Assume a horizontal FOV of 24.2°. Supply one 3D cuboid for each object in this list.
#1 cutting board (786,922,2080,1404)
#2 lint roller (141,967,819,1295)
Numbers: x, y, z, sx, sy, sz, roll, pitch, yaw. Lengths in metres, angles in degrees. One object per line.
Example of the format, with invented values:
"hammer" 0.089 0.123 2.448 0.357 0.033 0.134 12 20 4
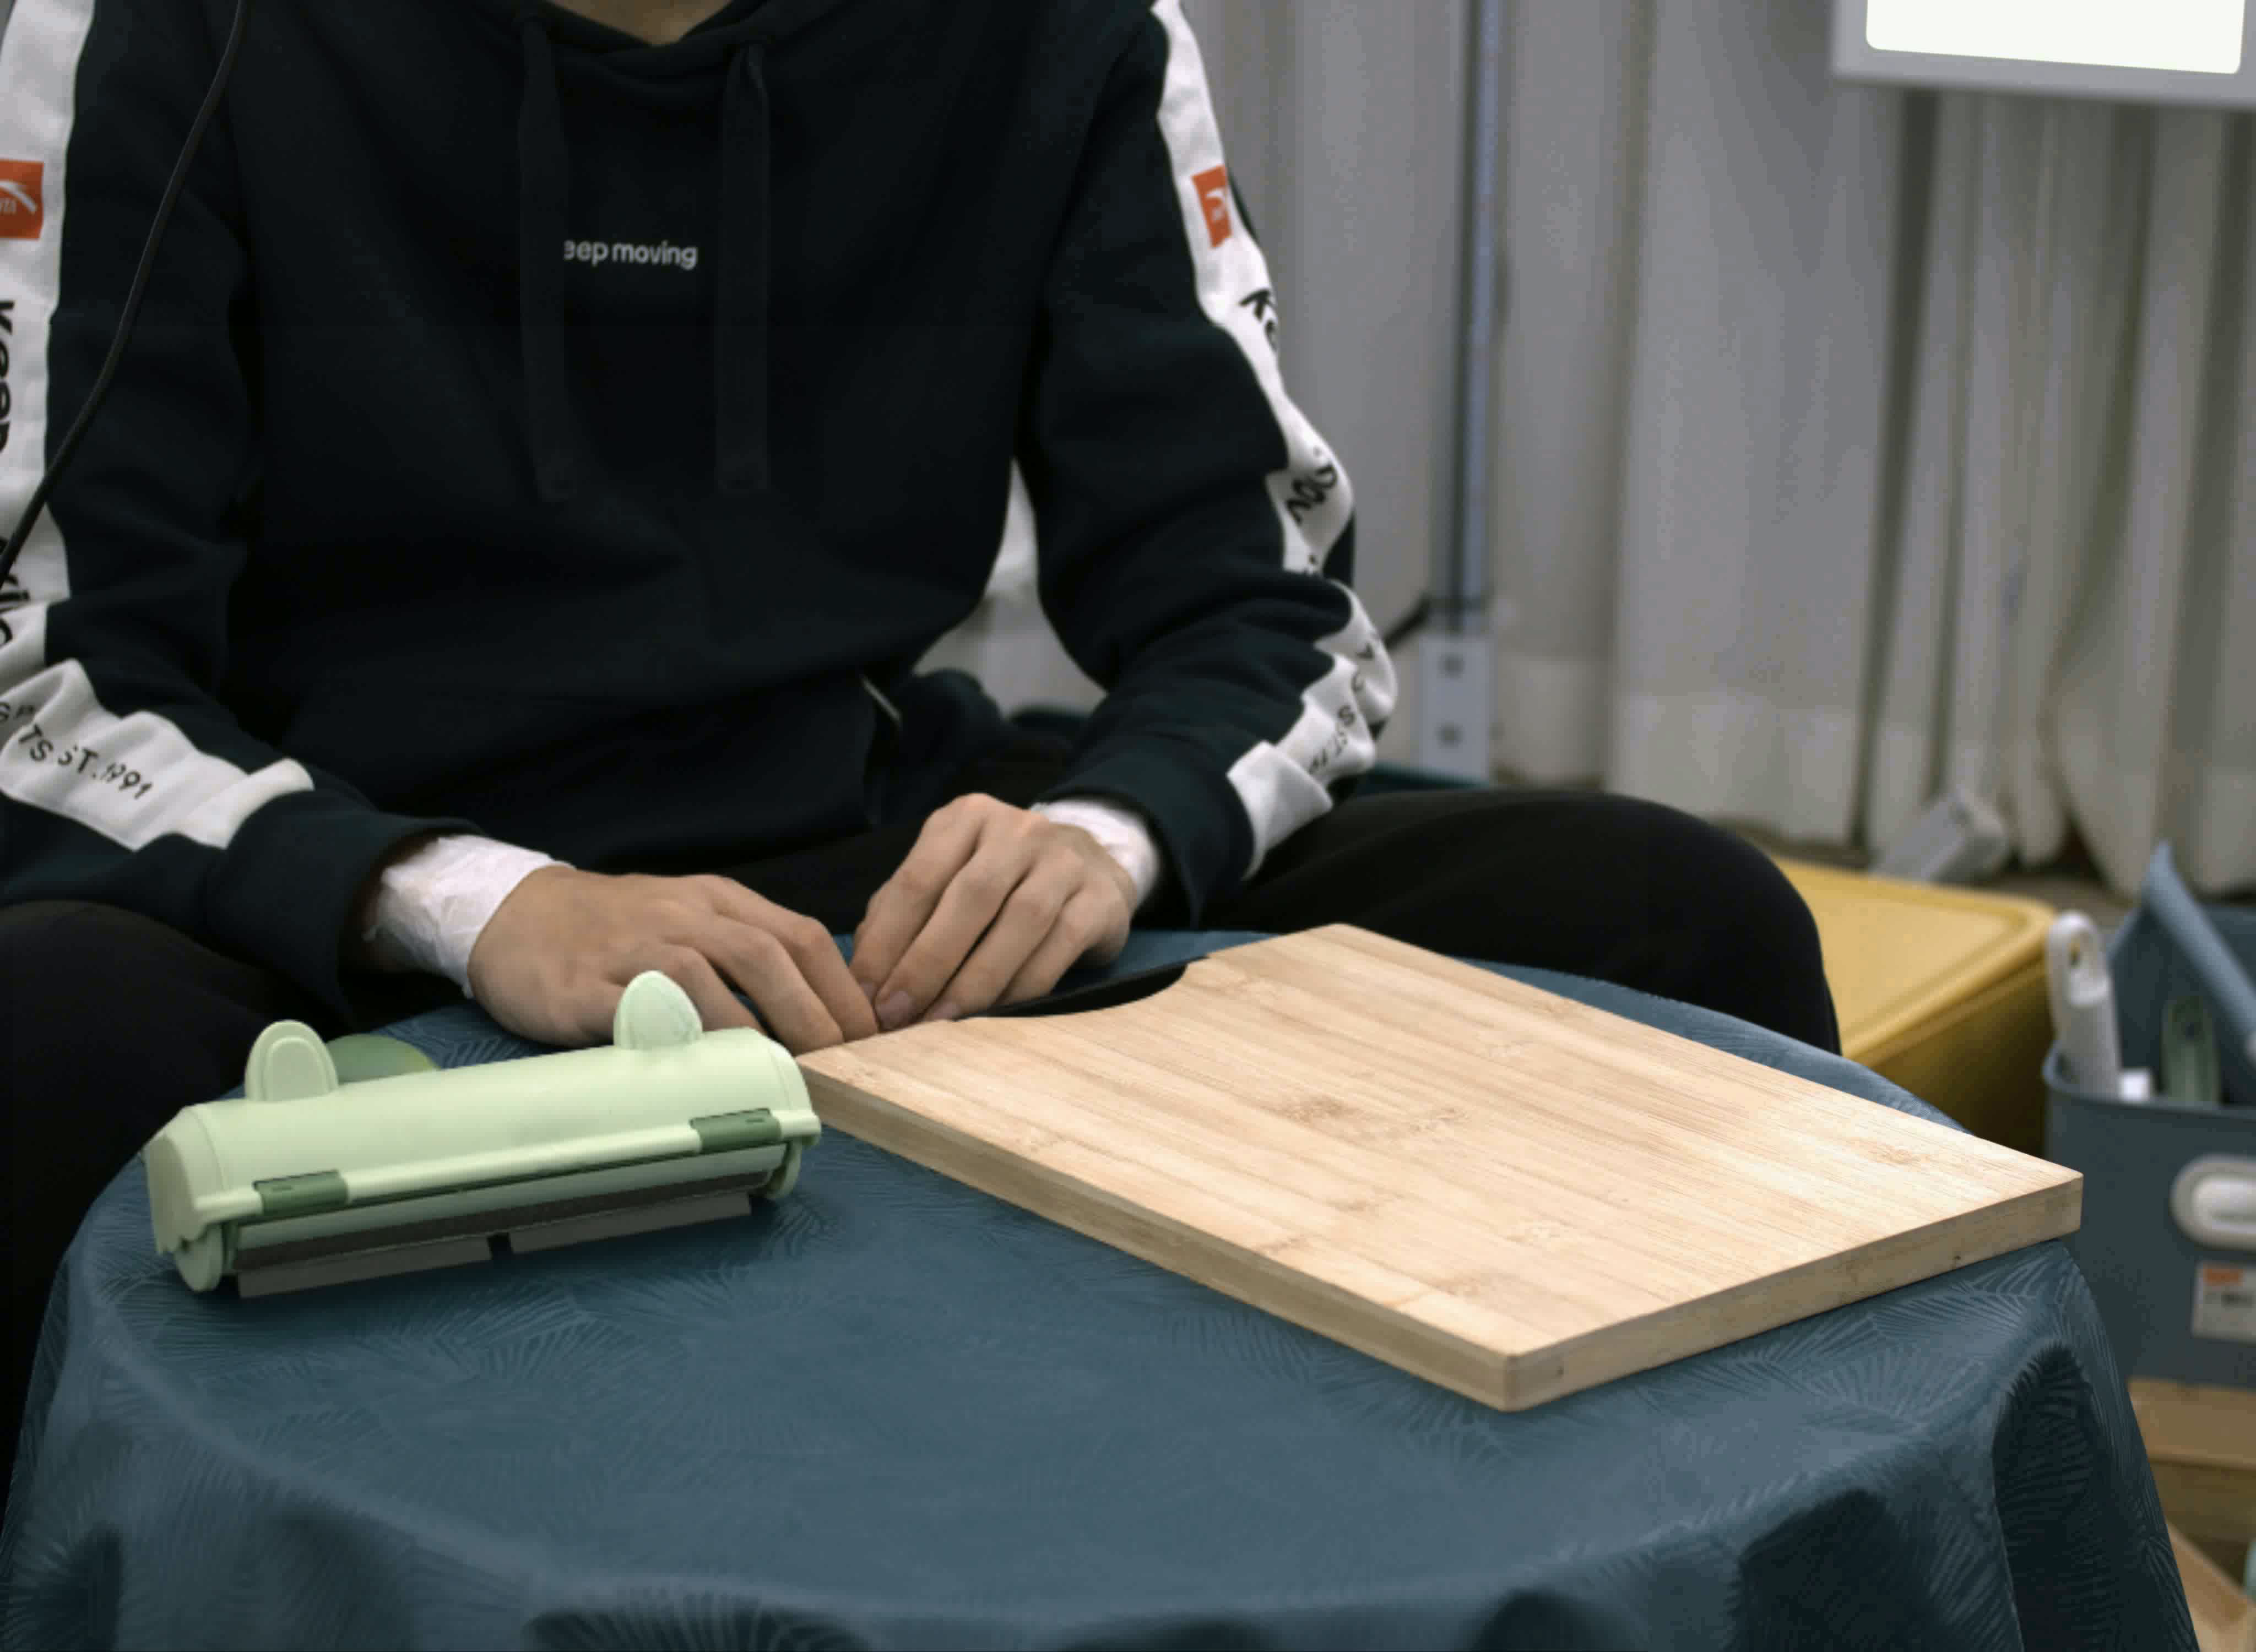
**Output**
"cutting board" 0.087 0.098 1.645 0.252 0.024 0.344 -12 20 -39
"lint roller" -0.216 0.074 1.605 0.199 0.083 0.181 -8 22 -26
